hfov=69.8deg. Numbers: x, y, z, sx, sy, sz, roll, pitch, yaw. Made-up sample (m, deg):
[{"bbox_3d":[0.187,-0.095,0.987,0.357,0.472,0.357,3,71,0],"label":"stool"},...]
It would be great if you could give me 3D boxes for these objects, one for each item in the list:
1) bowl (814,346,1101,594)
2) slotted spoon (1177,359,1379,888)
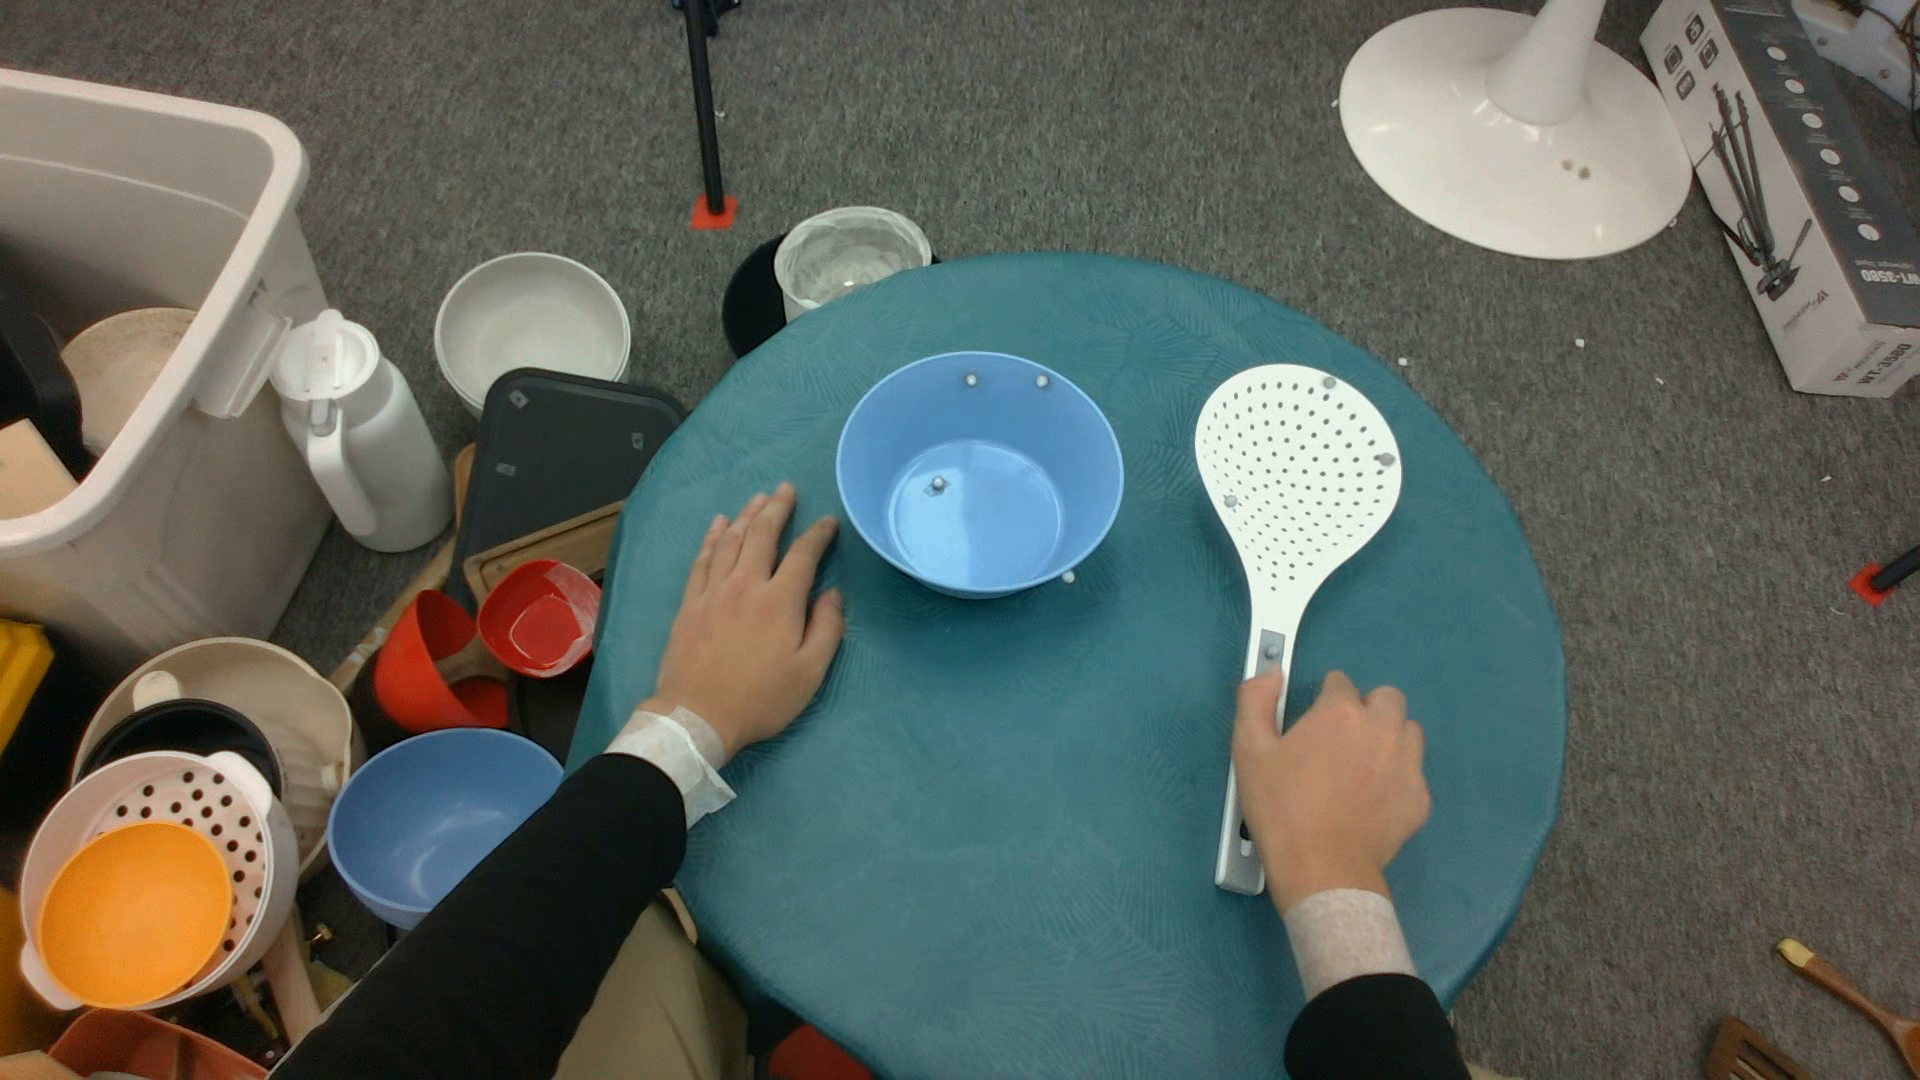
[{"bbox_3d":[-0.003,-0.033,0.862,0.176,0.070,0.177,2,60,-3],"label":"bowl"},{"bbox_3d":[0.183,0.040,0.850,0.136,0.045,0.351,15,60,-2],"label":"slotted spoon"}]
